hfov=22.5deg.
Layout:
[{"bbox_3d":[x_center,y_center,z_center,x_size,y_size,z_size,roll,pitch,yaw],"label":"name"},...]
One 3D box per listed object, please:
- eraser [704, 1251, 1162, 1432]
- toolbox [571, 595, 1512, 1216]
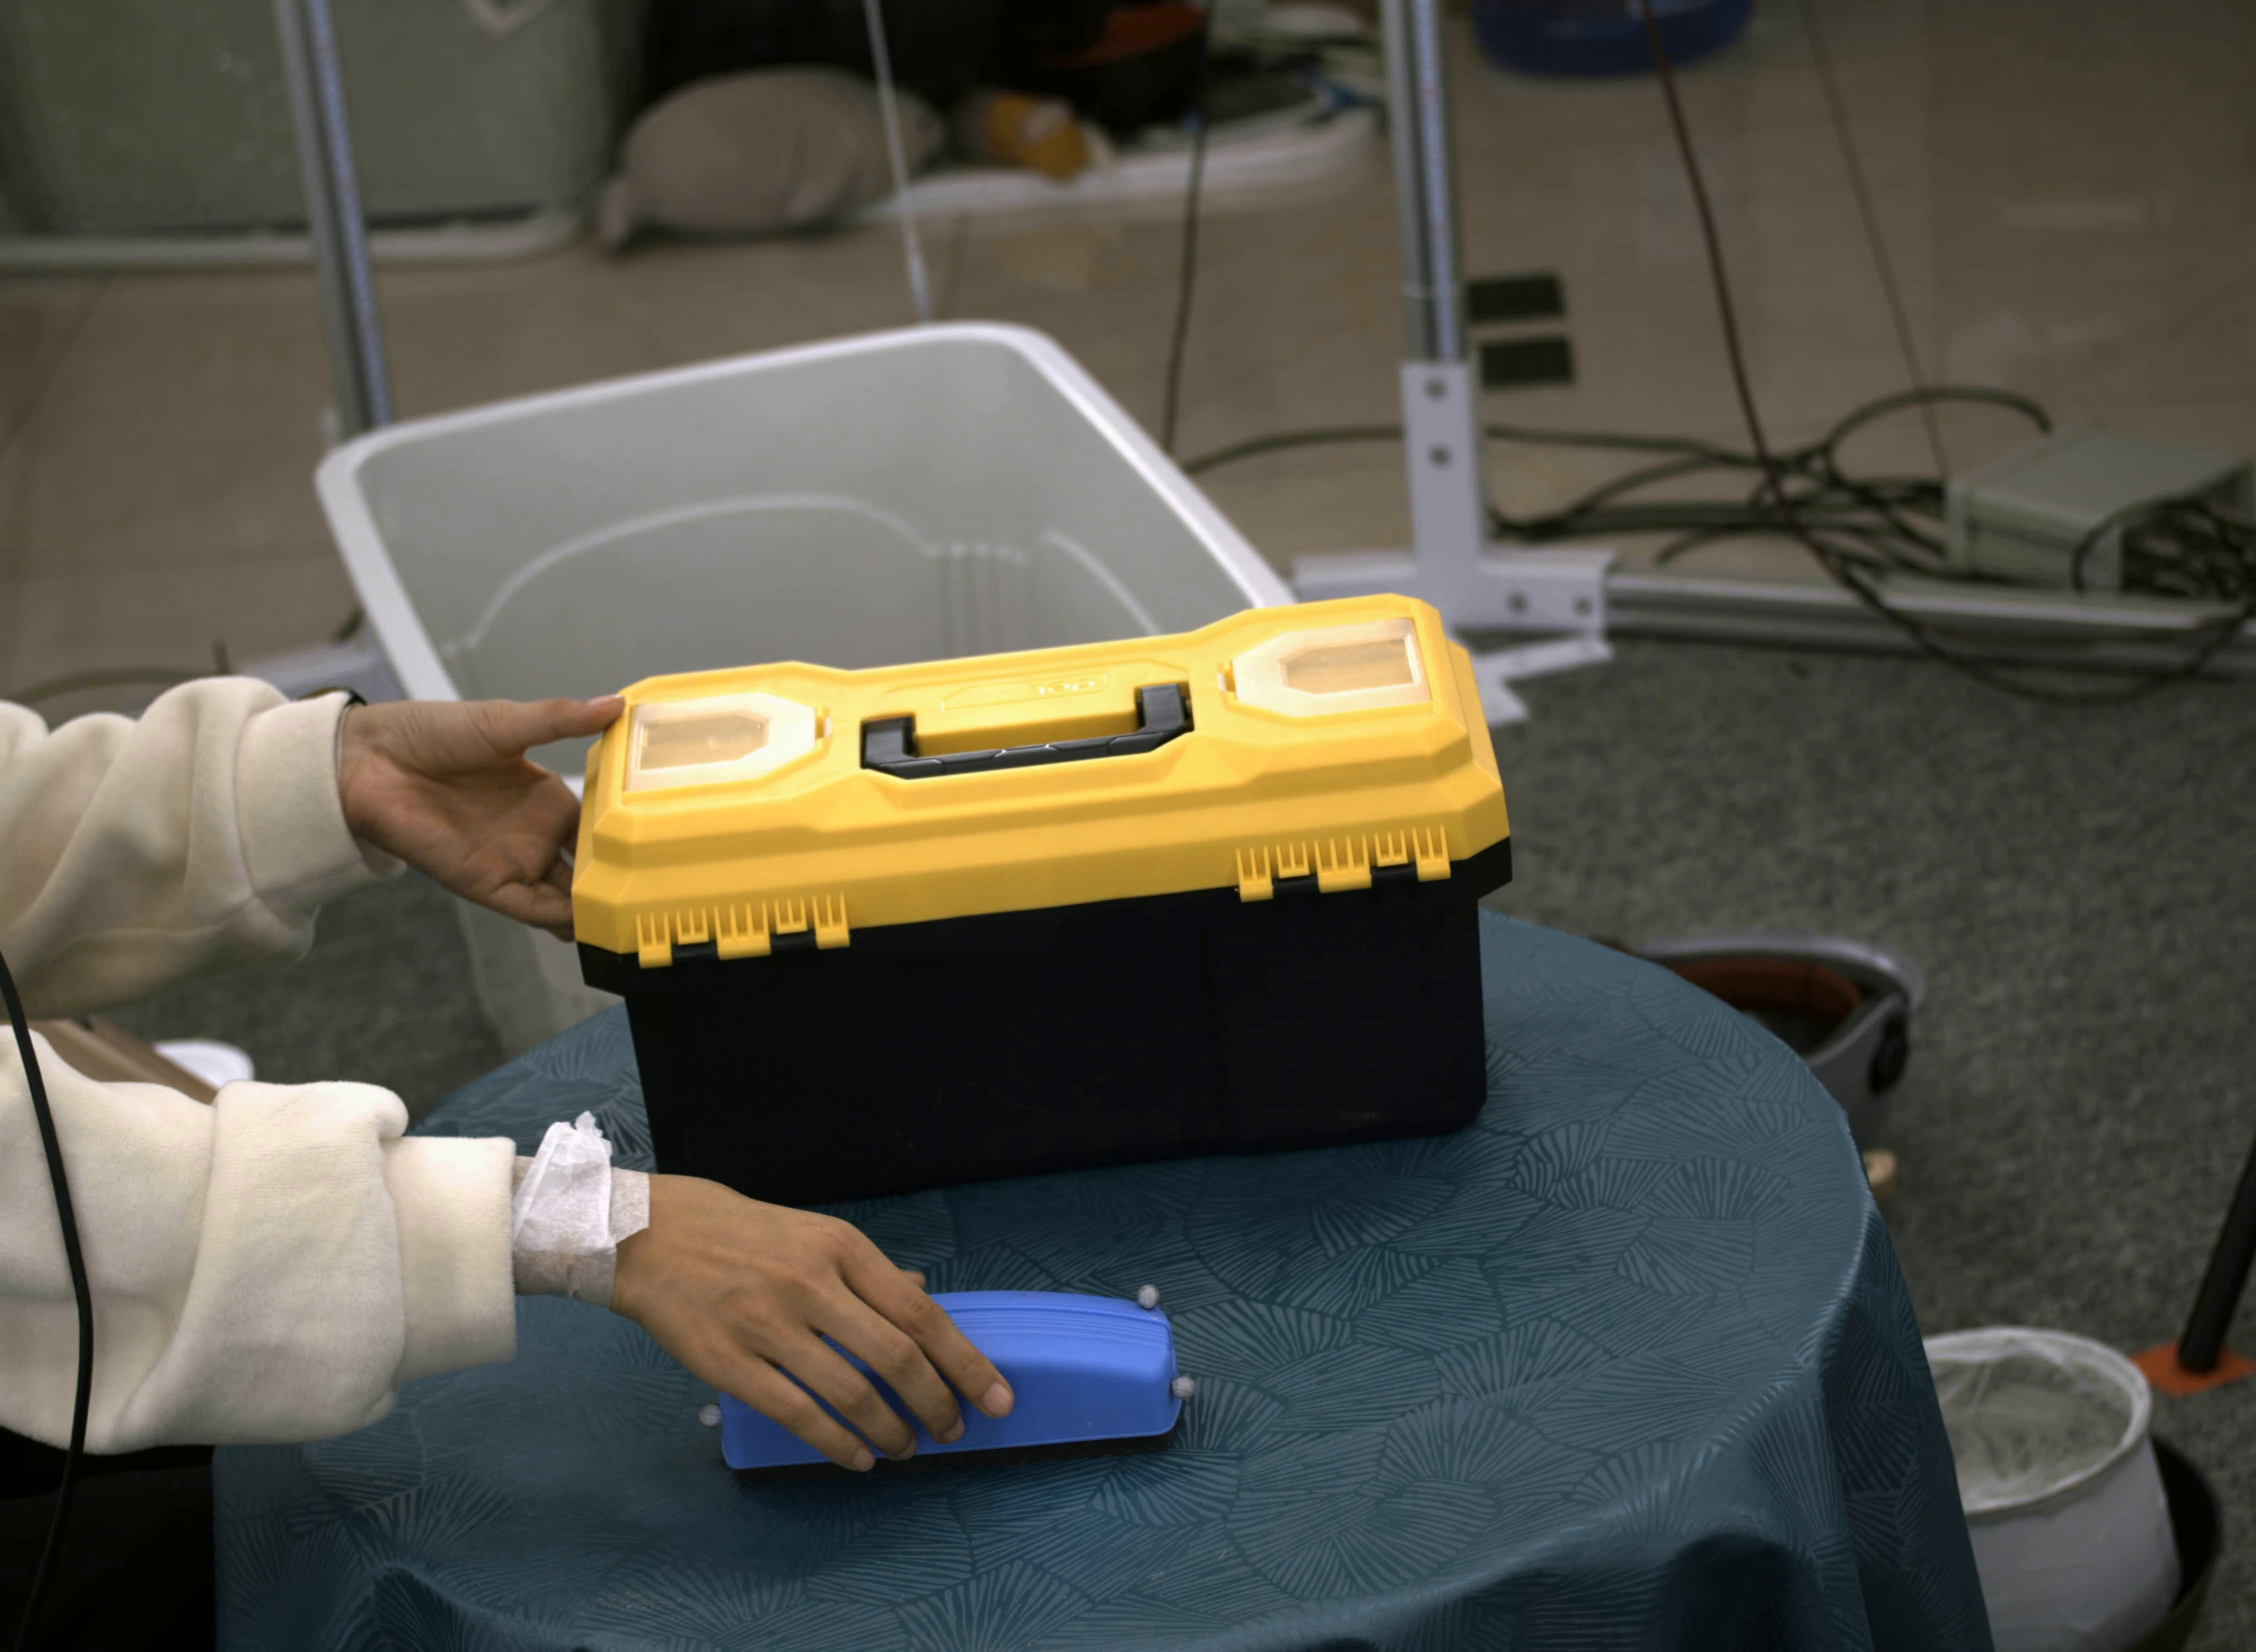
[{"bbox_3d":[-0.070,0.181,2.002,0.162,0.048,0.053,0,34,7],"label":"eraser"},{"bbox_3d":[-0.031,0.030,2.181,0.351,0.175,0.178,-6,26,1],"label":"toolbox"}]
